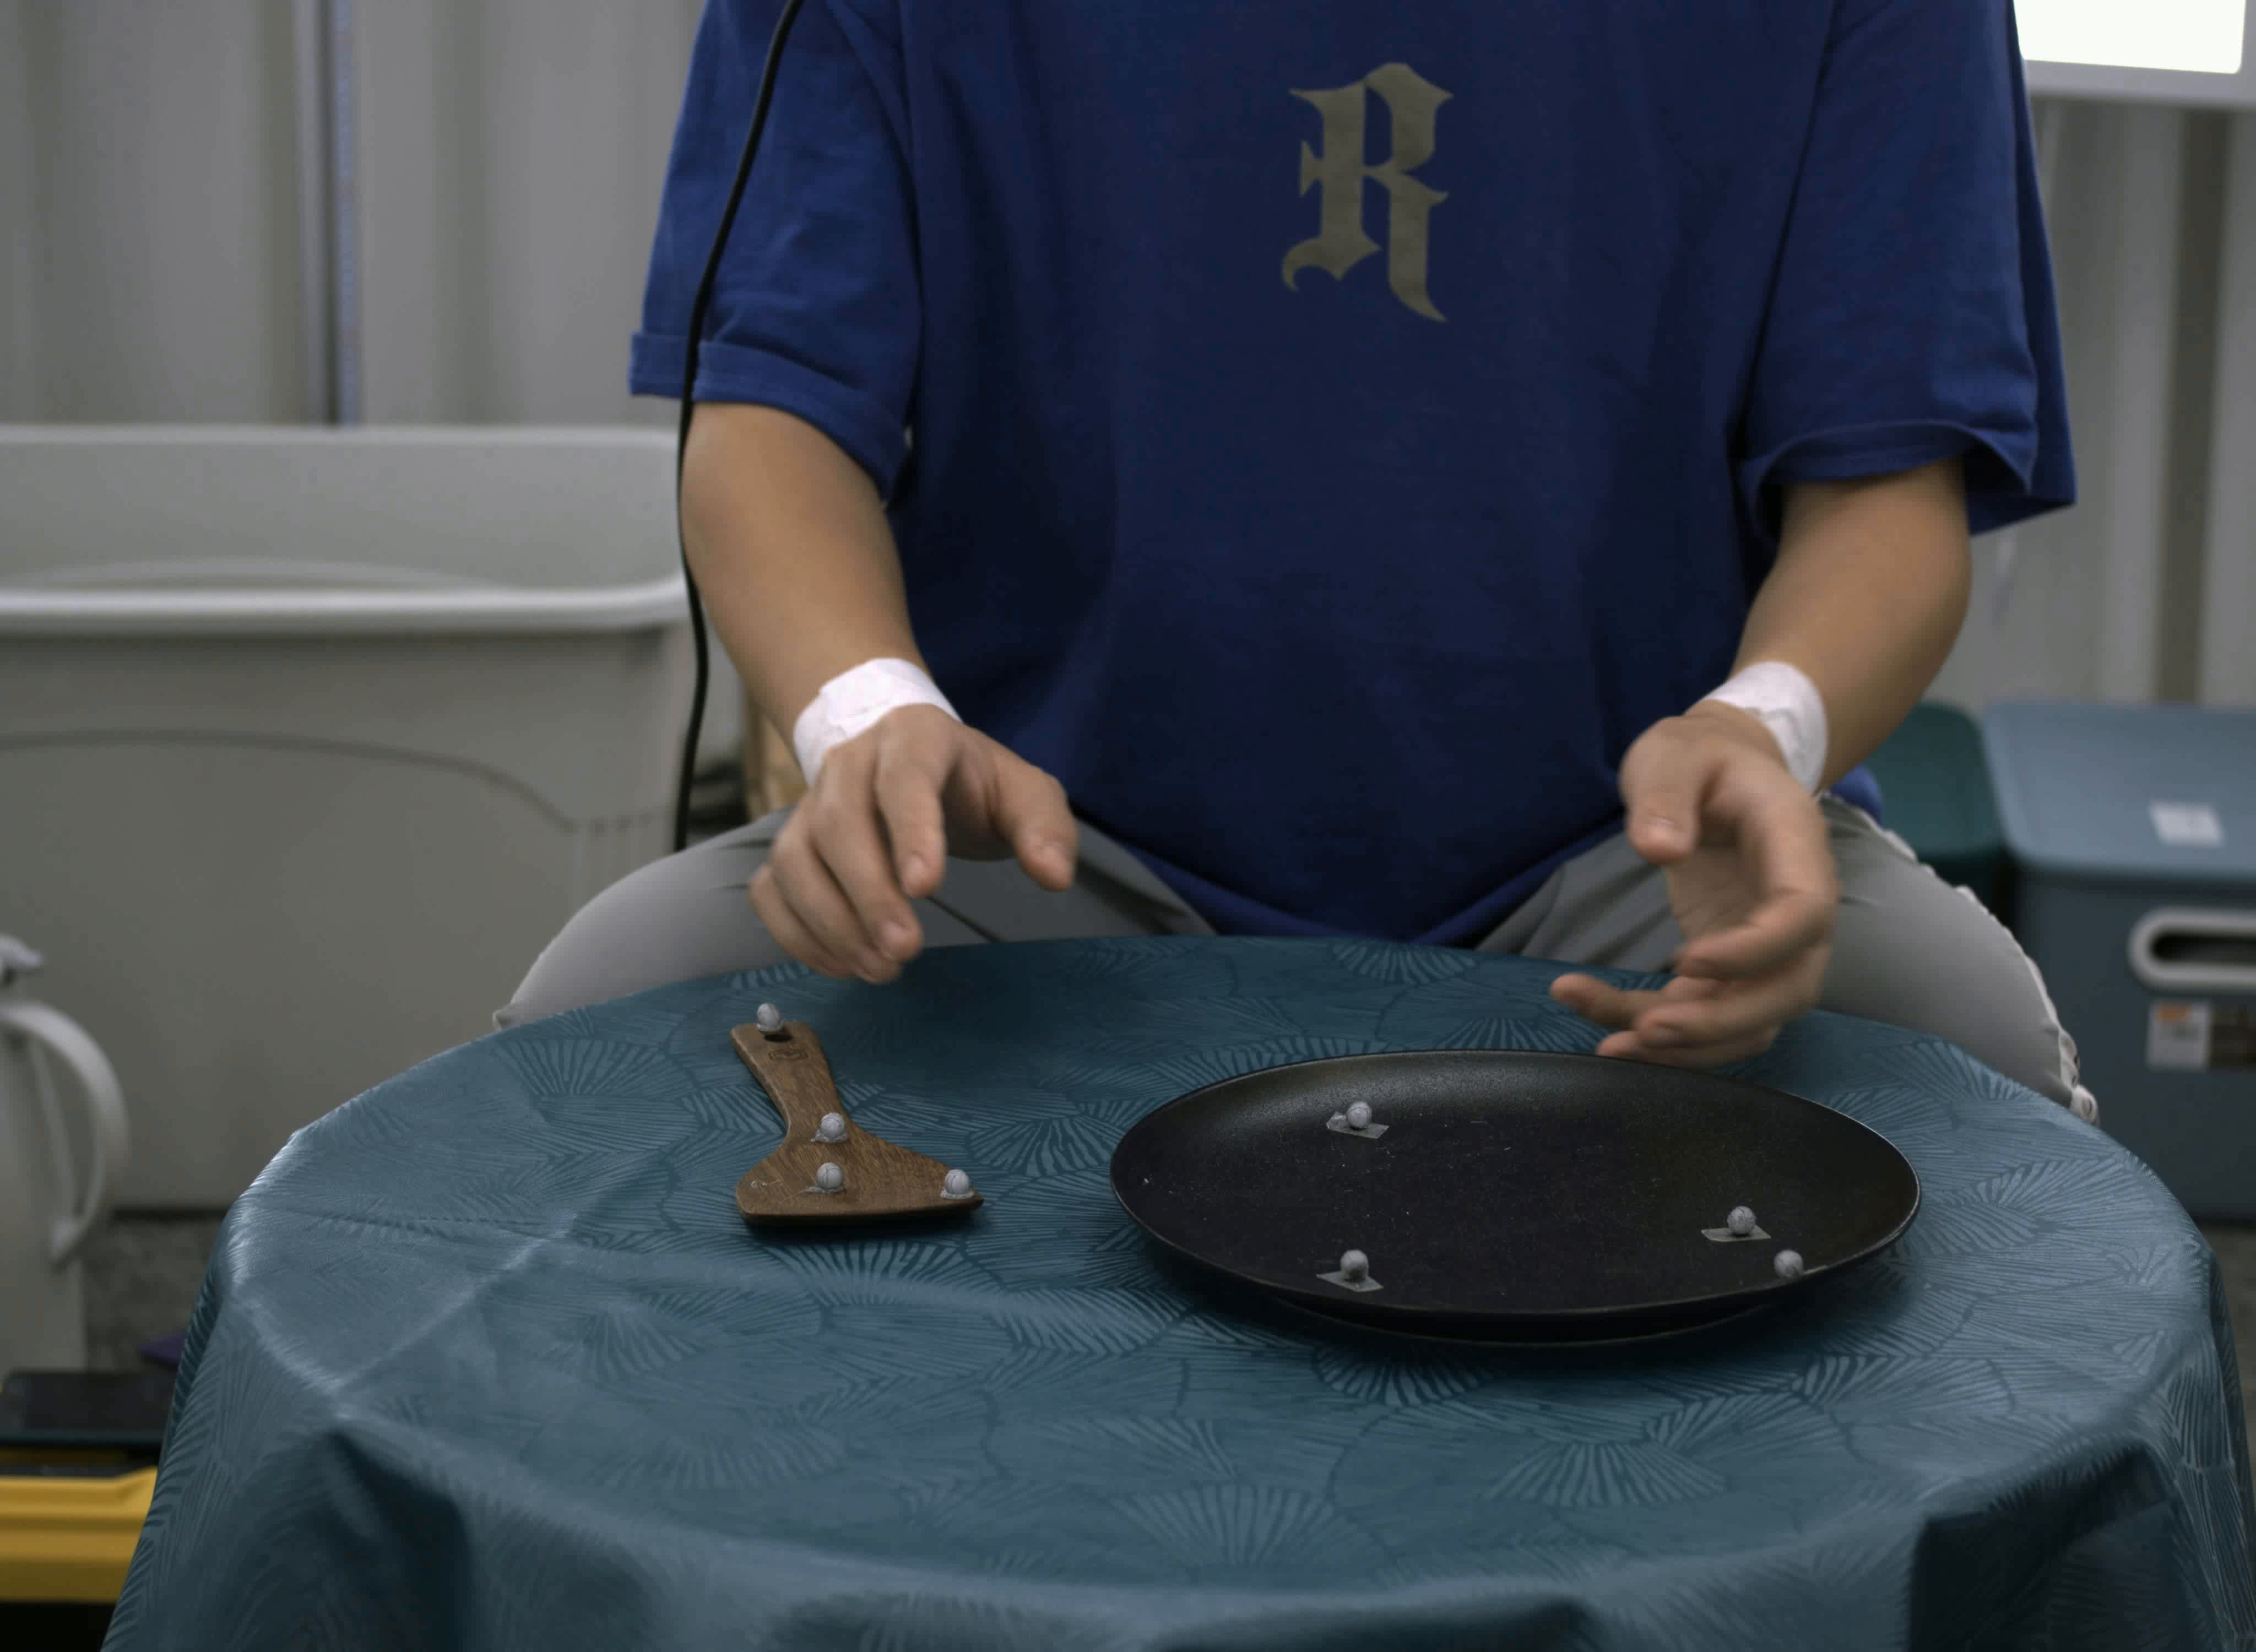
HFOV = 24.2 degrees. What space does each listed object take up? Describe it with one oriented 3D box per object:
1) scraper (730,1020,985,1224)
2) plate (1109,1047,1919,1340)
[{"bbox_3d":[-0.099,0.093,1.671,0.076,0.011,0.209,-2,15,-12],"label":"scraper"},{"bbox_3d":[0.115,0.112,1.582,0.243,0.023,0.243,1,15,0],"label":"plate"}]
